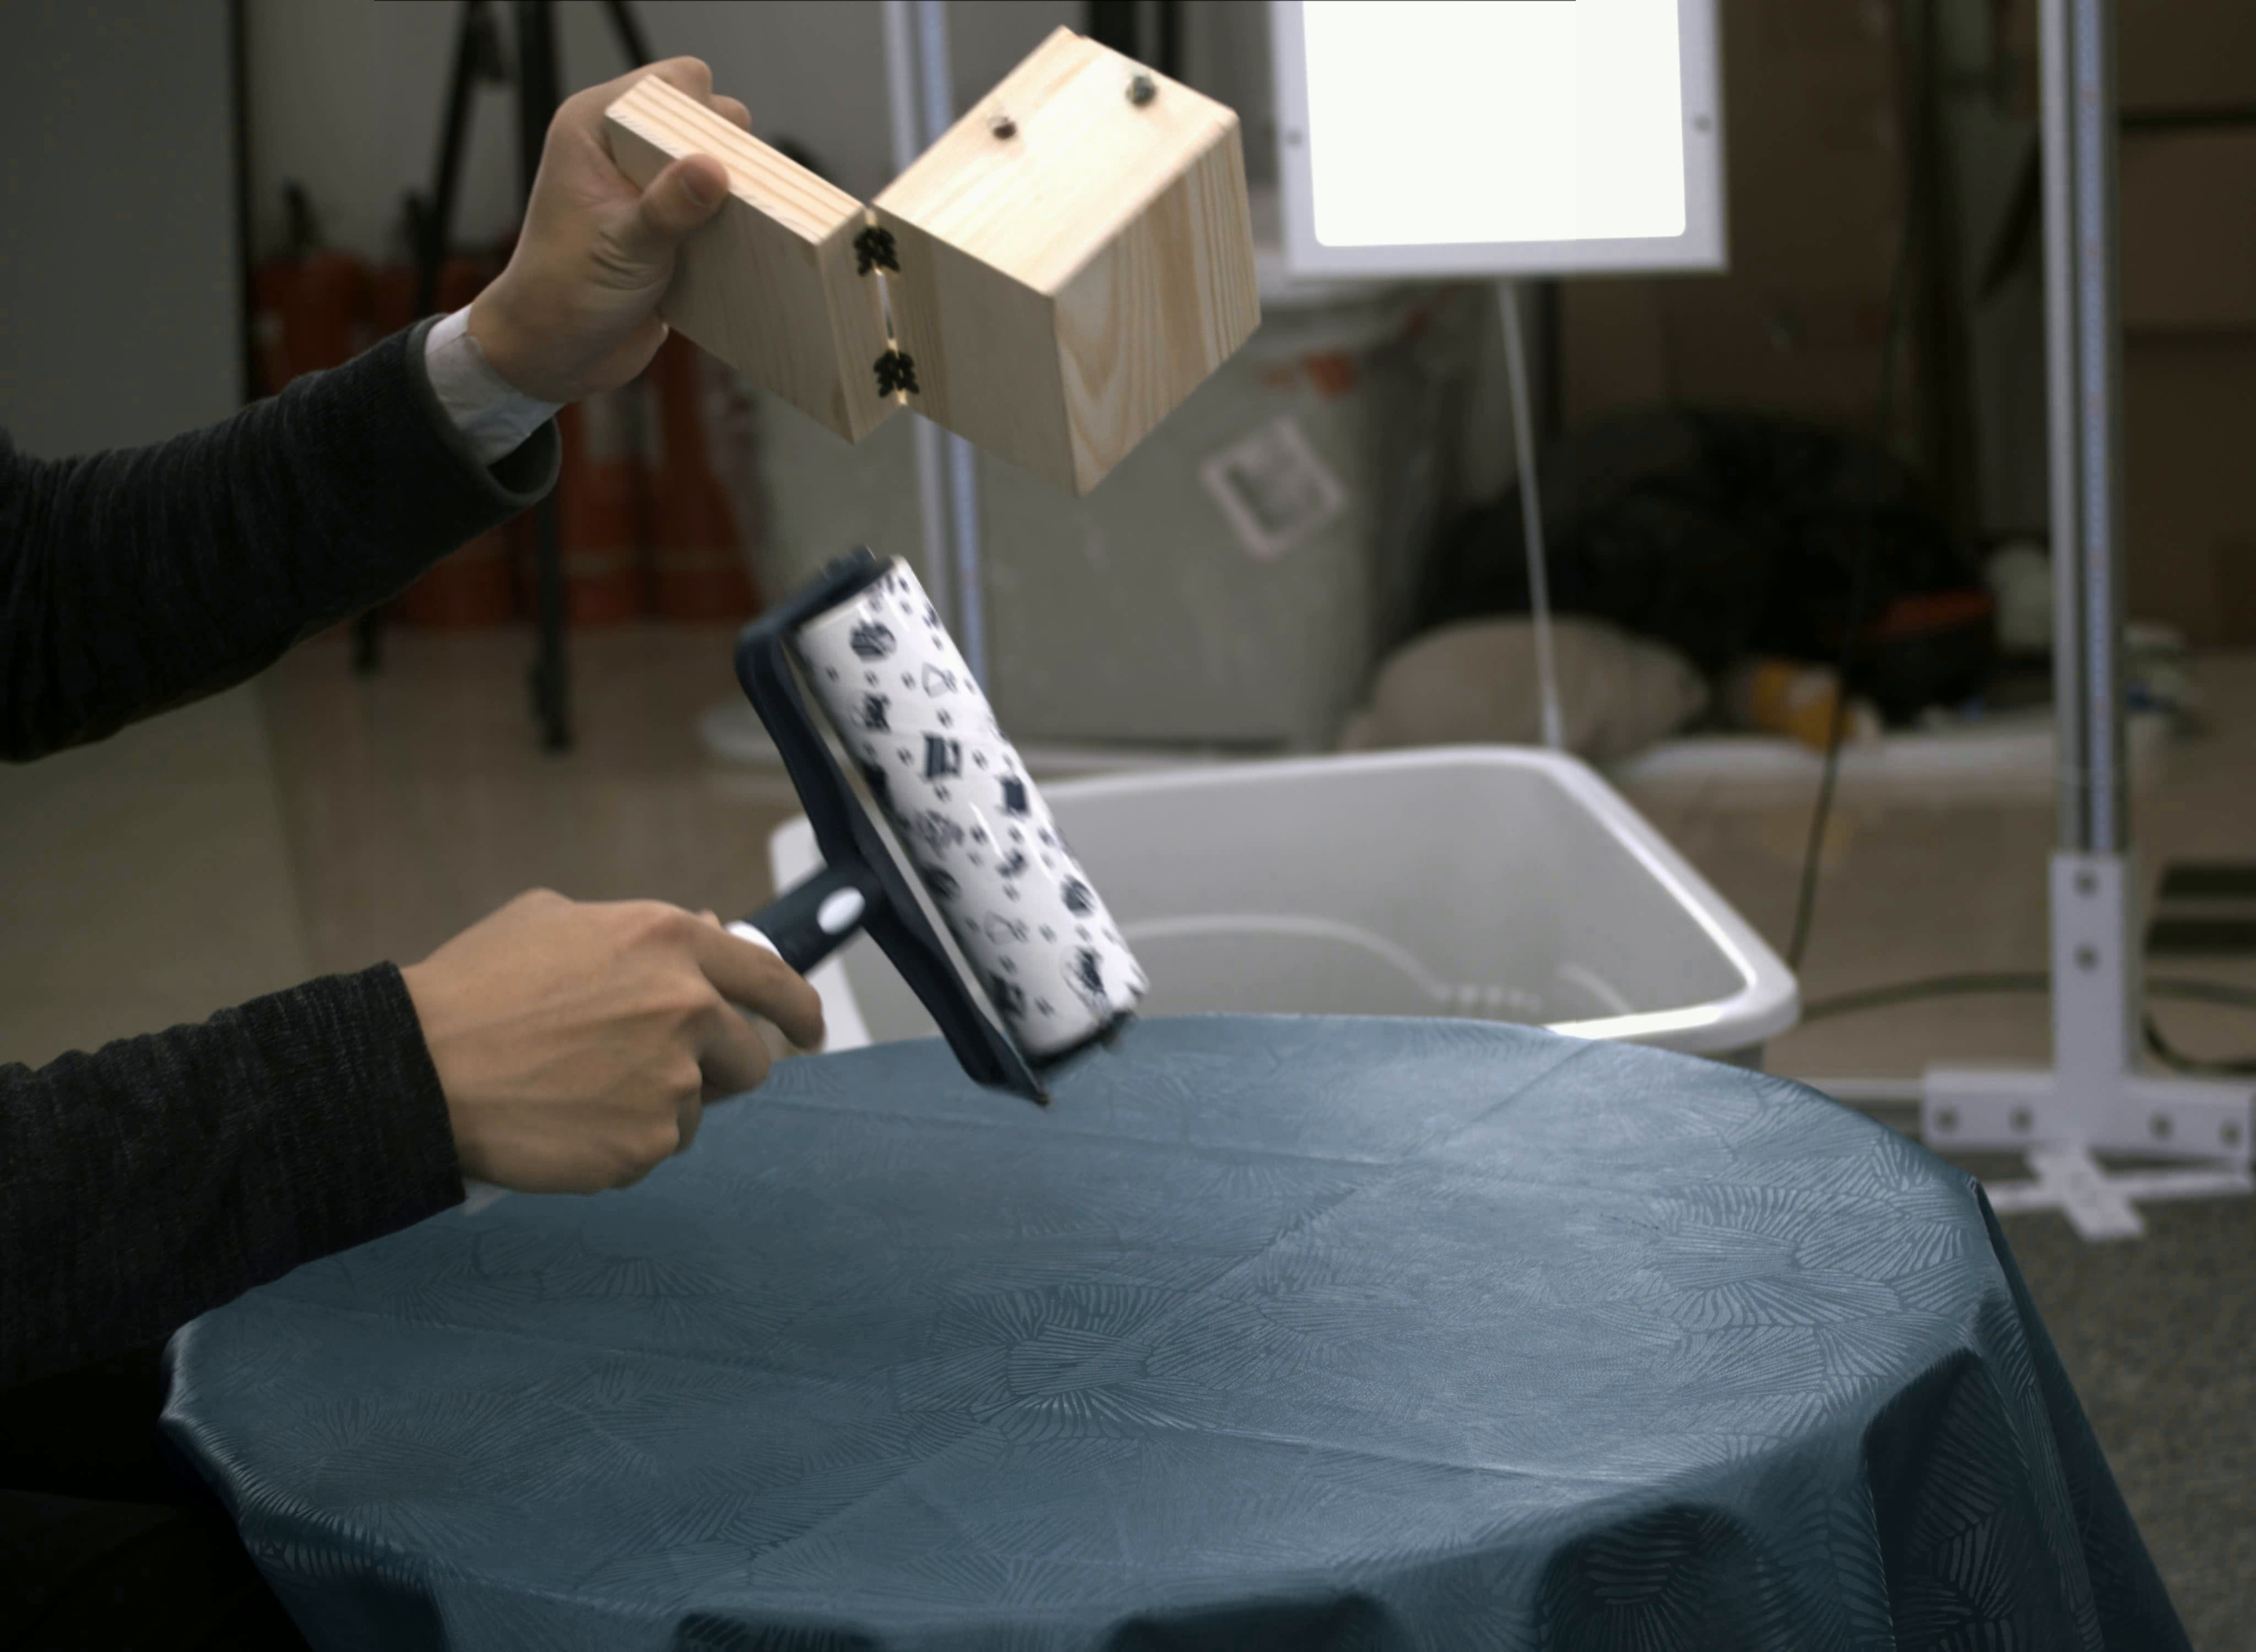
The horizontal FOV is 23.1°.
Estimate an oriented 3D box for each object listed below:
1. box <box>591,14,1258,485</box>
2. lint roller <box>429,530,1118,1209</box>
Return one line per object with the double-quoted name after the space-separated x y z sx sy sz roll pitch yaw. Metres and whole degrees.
-0.067 -0.210 1.871 0.187 0.102 0.132 29 61 30 "box"
-0.120 0.043 1.711 0.242 0.176 0.051 -41 20 -34 "lint roller"
